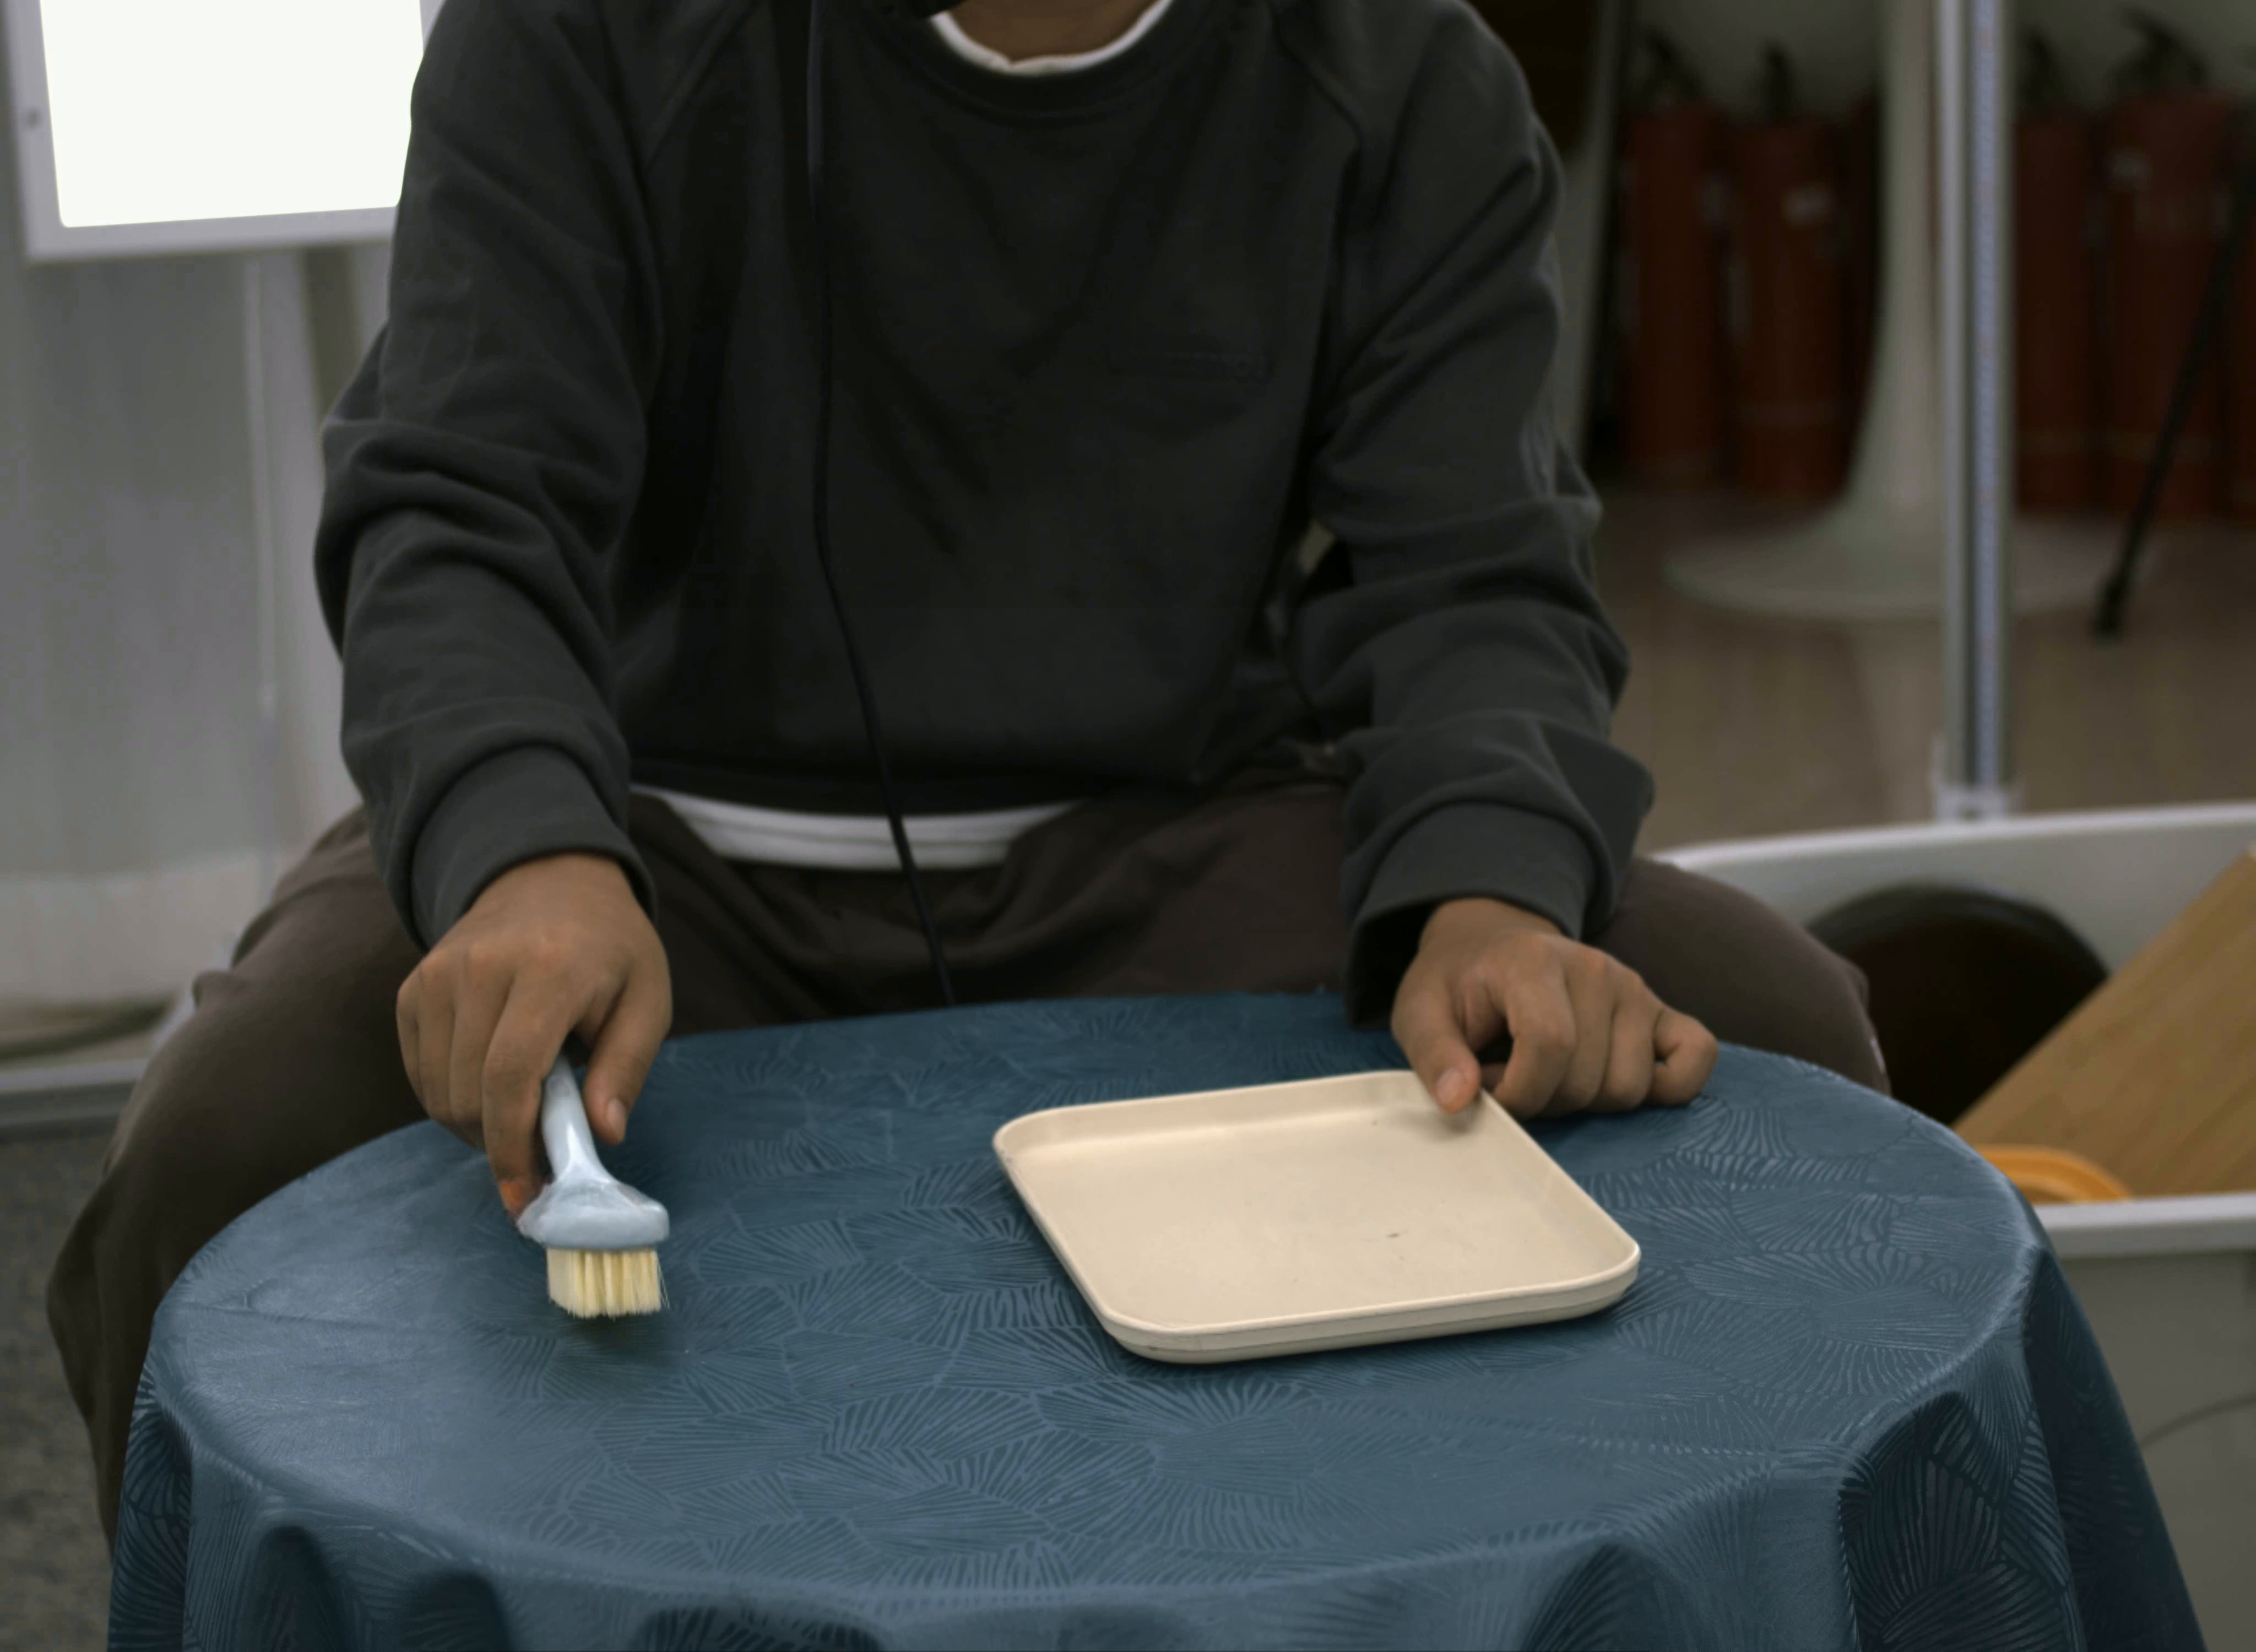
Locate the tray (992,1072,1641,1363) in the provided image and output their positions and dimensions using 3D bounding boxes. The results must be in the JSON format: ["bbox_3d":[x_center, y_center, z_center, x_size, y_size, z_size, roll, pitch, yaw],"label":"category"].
[{"bbox_3d":[0.056,0.123,1.712,0.168,0.017,0.241,-6,14,-10],"label":"tray"}]

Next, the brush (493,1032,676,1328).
[{"bbox_3d":[-0.180,0.114,1.740,0.037,0.050,0.230,-3,16,-15],"label":"brush"}]
